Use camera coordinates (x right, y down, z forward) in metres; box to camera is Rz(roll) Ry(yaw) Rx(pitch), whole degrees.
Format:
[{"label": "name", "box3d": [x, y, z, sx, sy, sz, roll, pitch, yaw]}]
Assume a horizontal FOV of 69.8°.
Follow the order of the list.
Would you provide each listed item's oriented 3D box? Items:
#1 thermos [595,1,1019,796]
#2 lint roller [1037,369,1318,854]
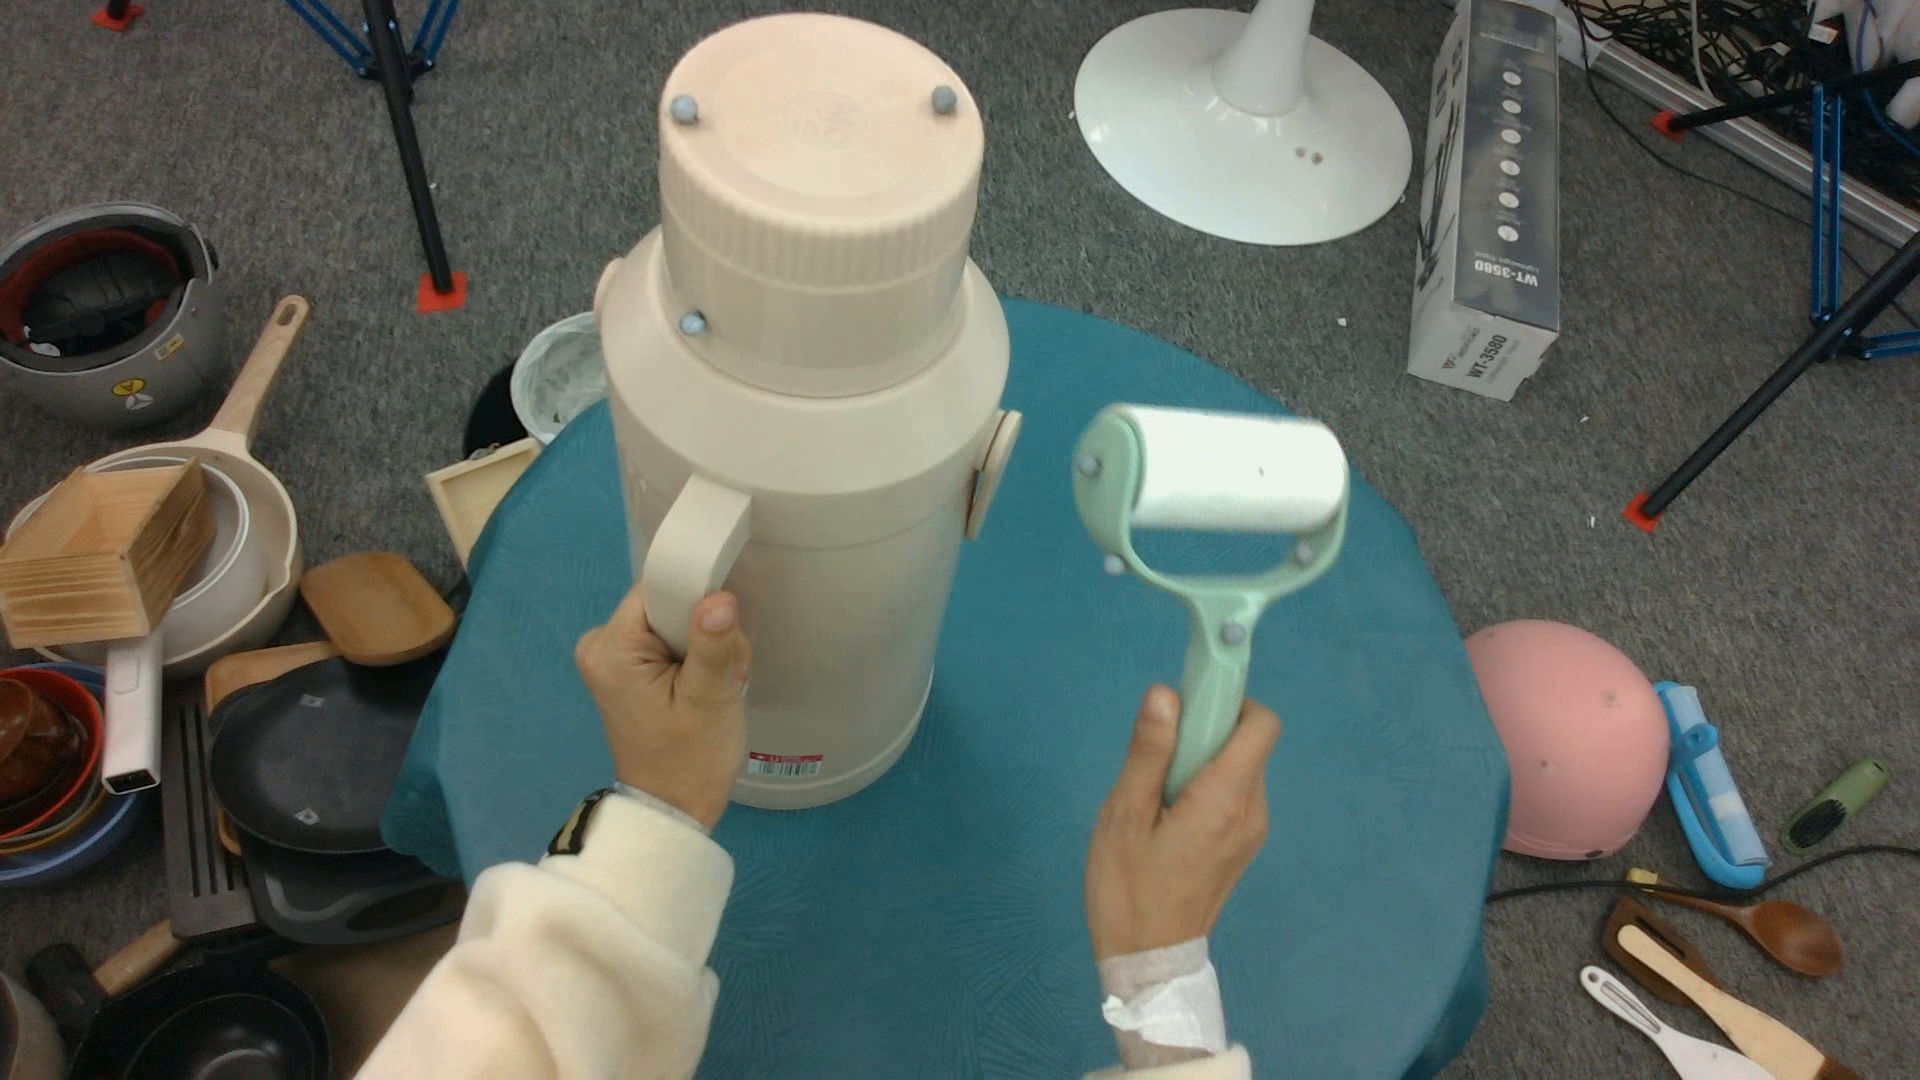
[{"label": "thermos", "box3d": [-0.078, -0.024, 0.604, 0.175, 0.404, 0.208, 22, 56, 4]}, {"label": "lint roller", "box3d": [0.082, 0.032, 0.535, 0.117, 0.048, 0.197, -3, 98, -35]}]
